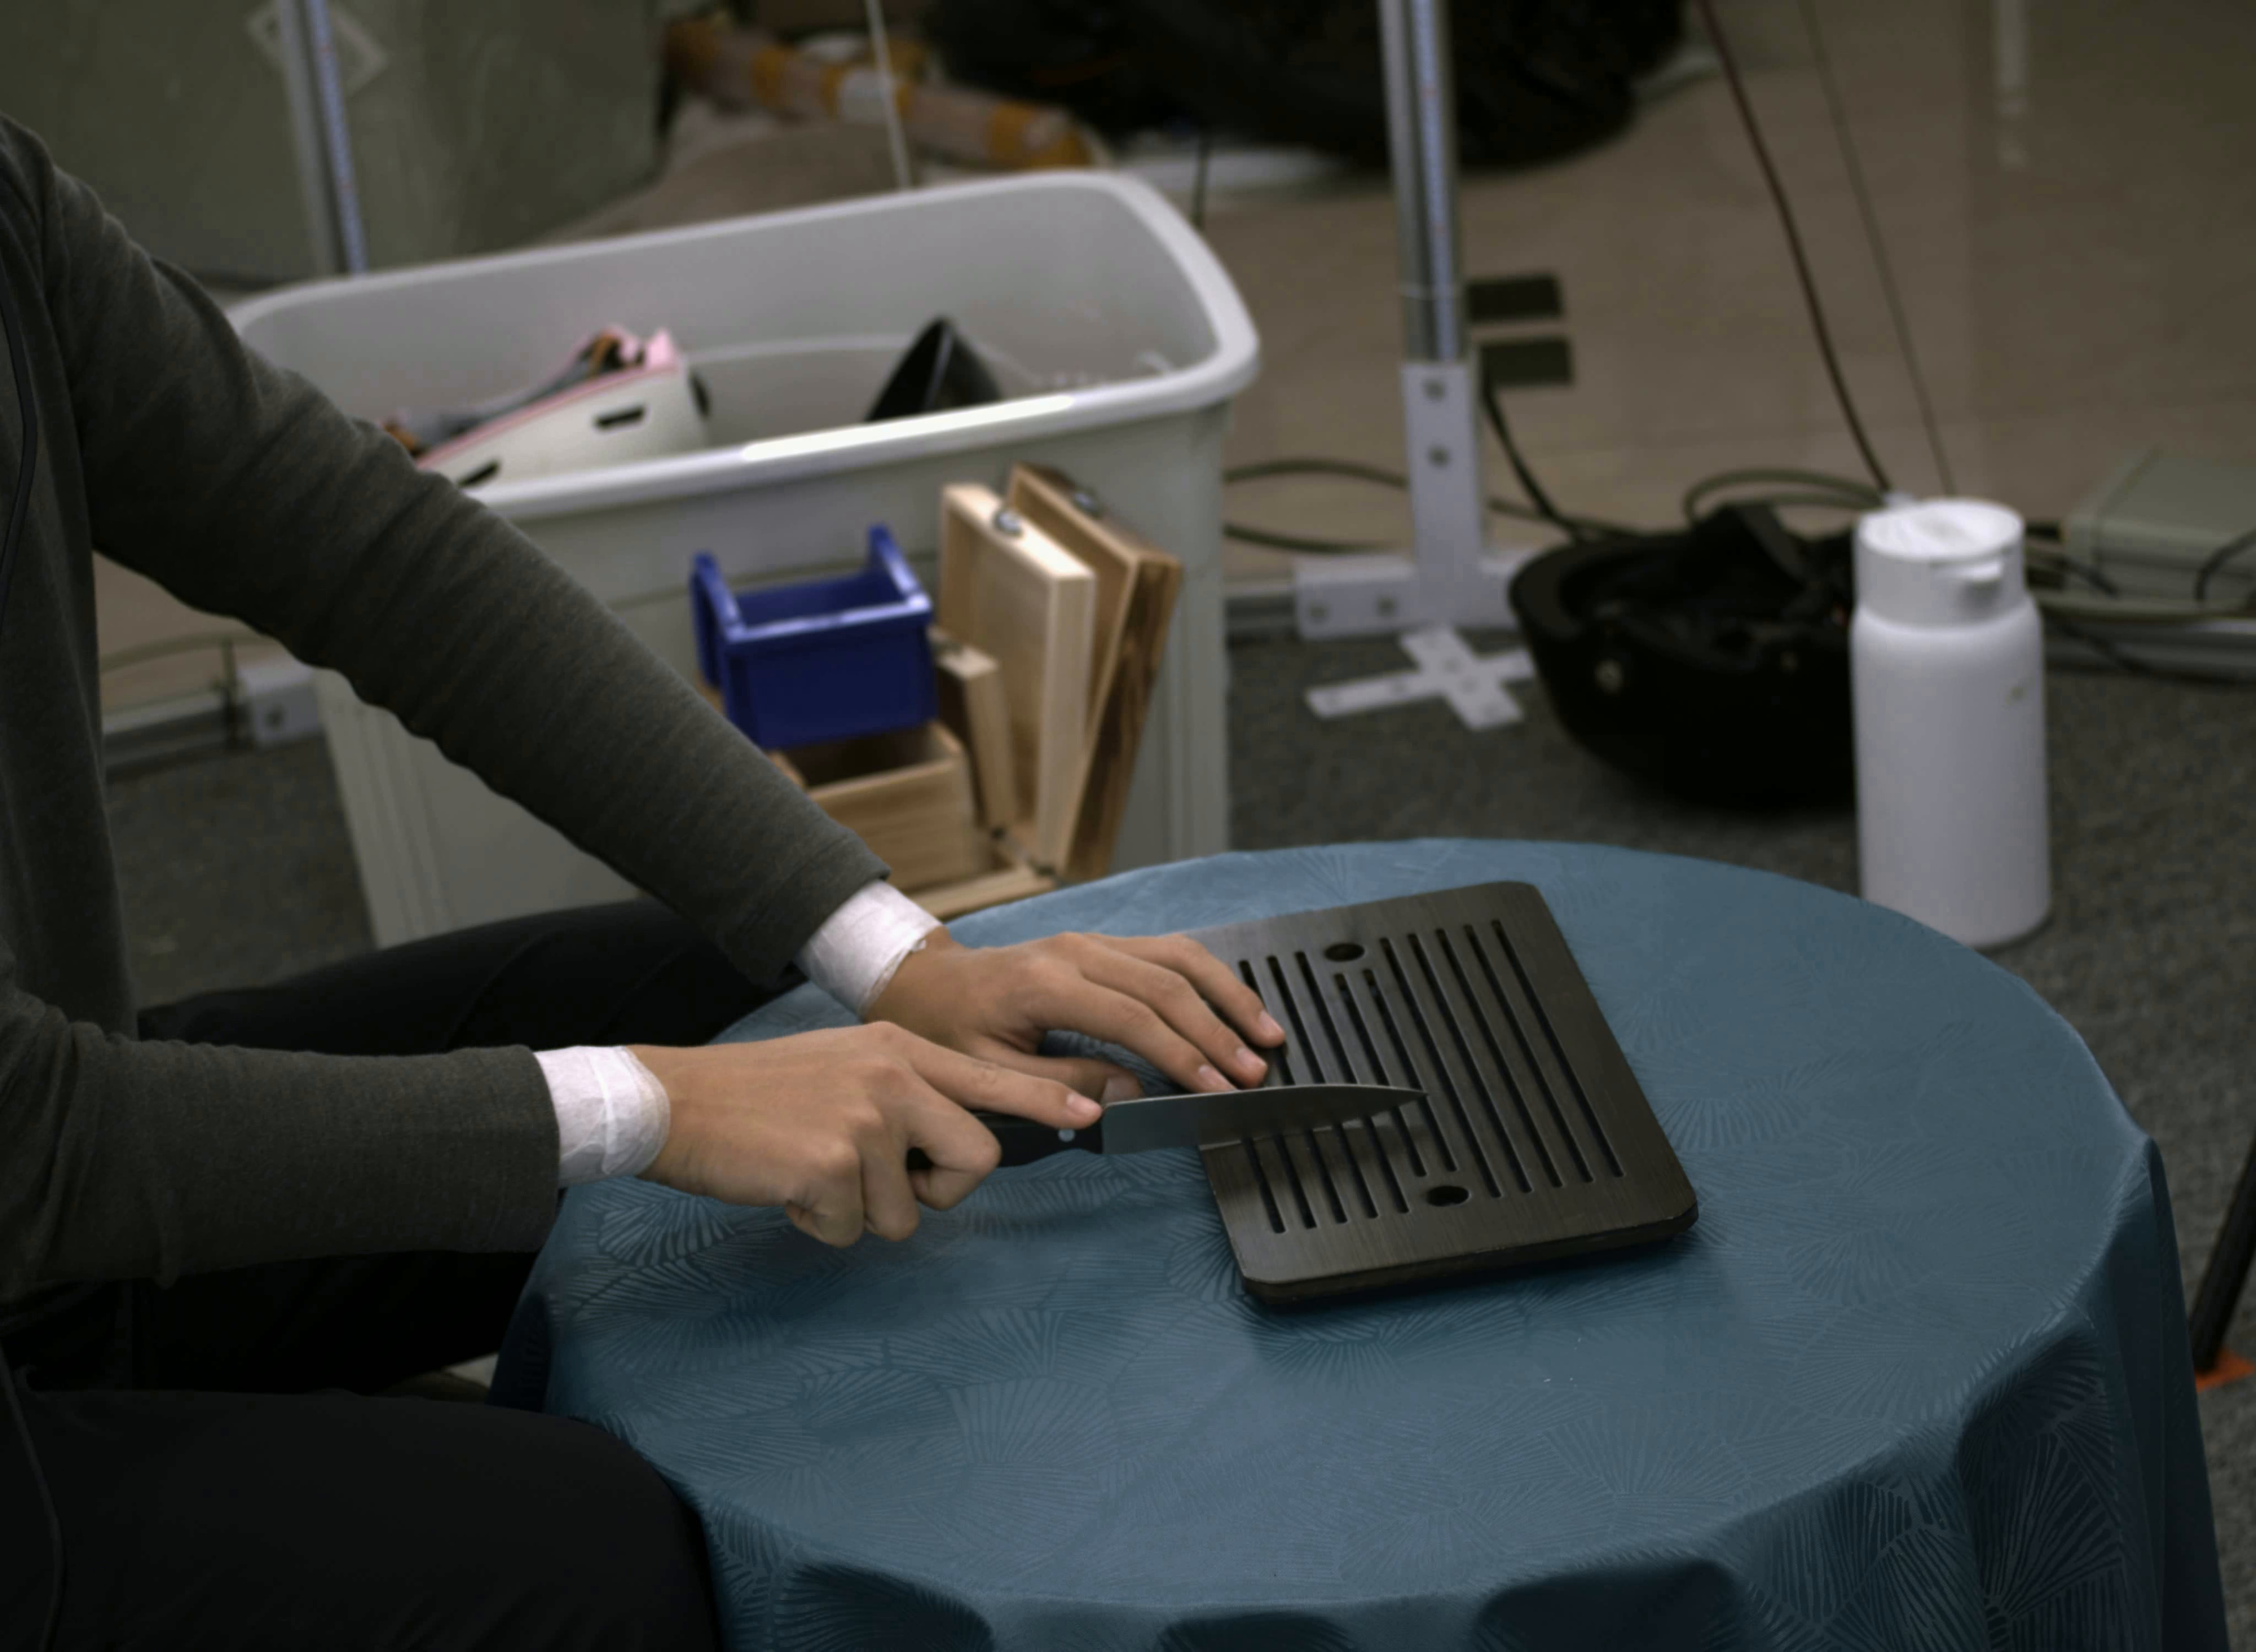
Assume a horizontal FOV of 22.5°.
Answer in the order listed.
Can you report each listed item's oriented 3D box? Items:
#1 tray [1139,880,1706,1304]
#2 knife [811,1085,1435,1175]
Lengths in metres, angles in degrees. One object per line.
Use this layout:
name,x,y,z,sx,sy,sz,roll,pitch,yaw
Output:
tray,0.108,0.100,2.188,0.170,0.019,0.301,-9,25,-5
knife,-0.001,0.111,2.134,0.238,0.025,0.016,-5,21,-6
